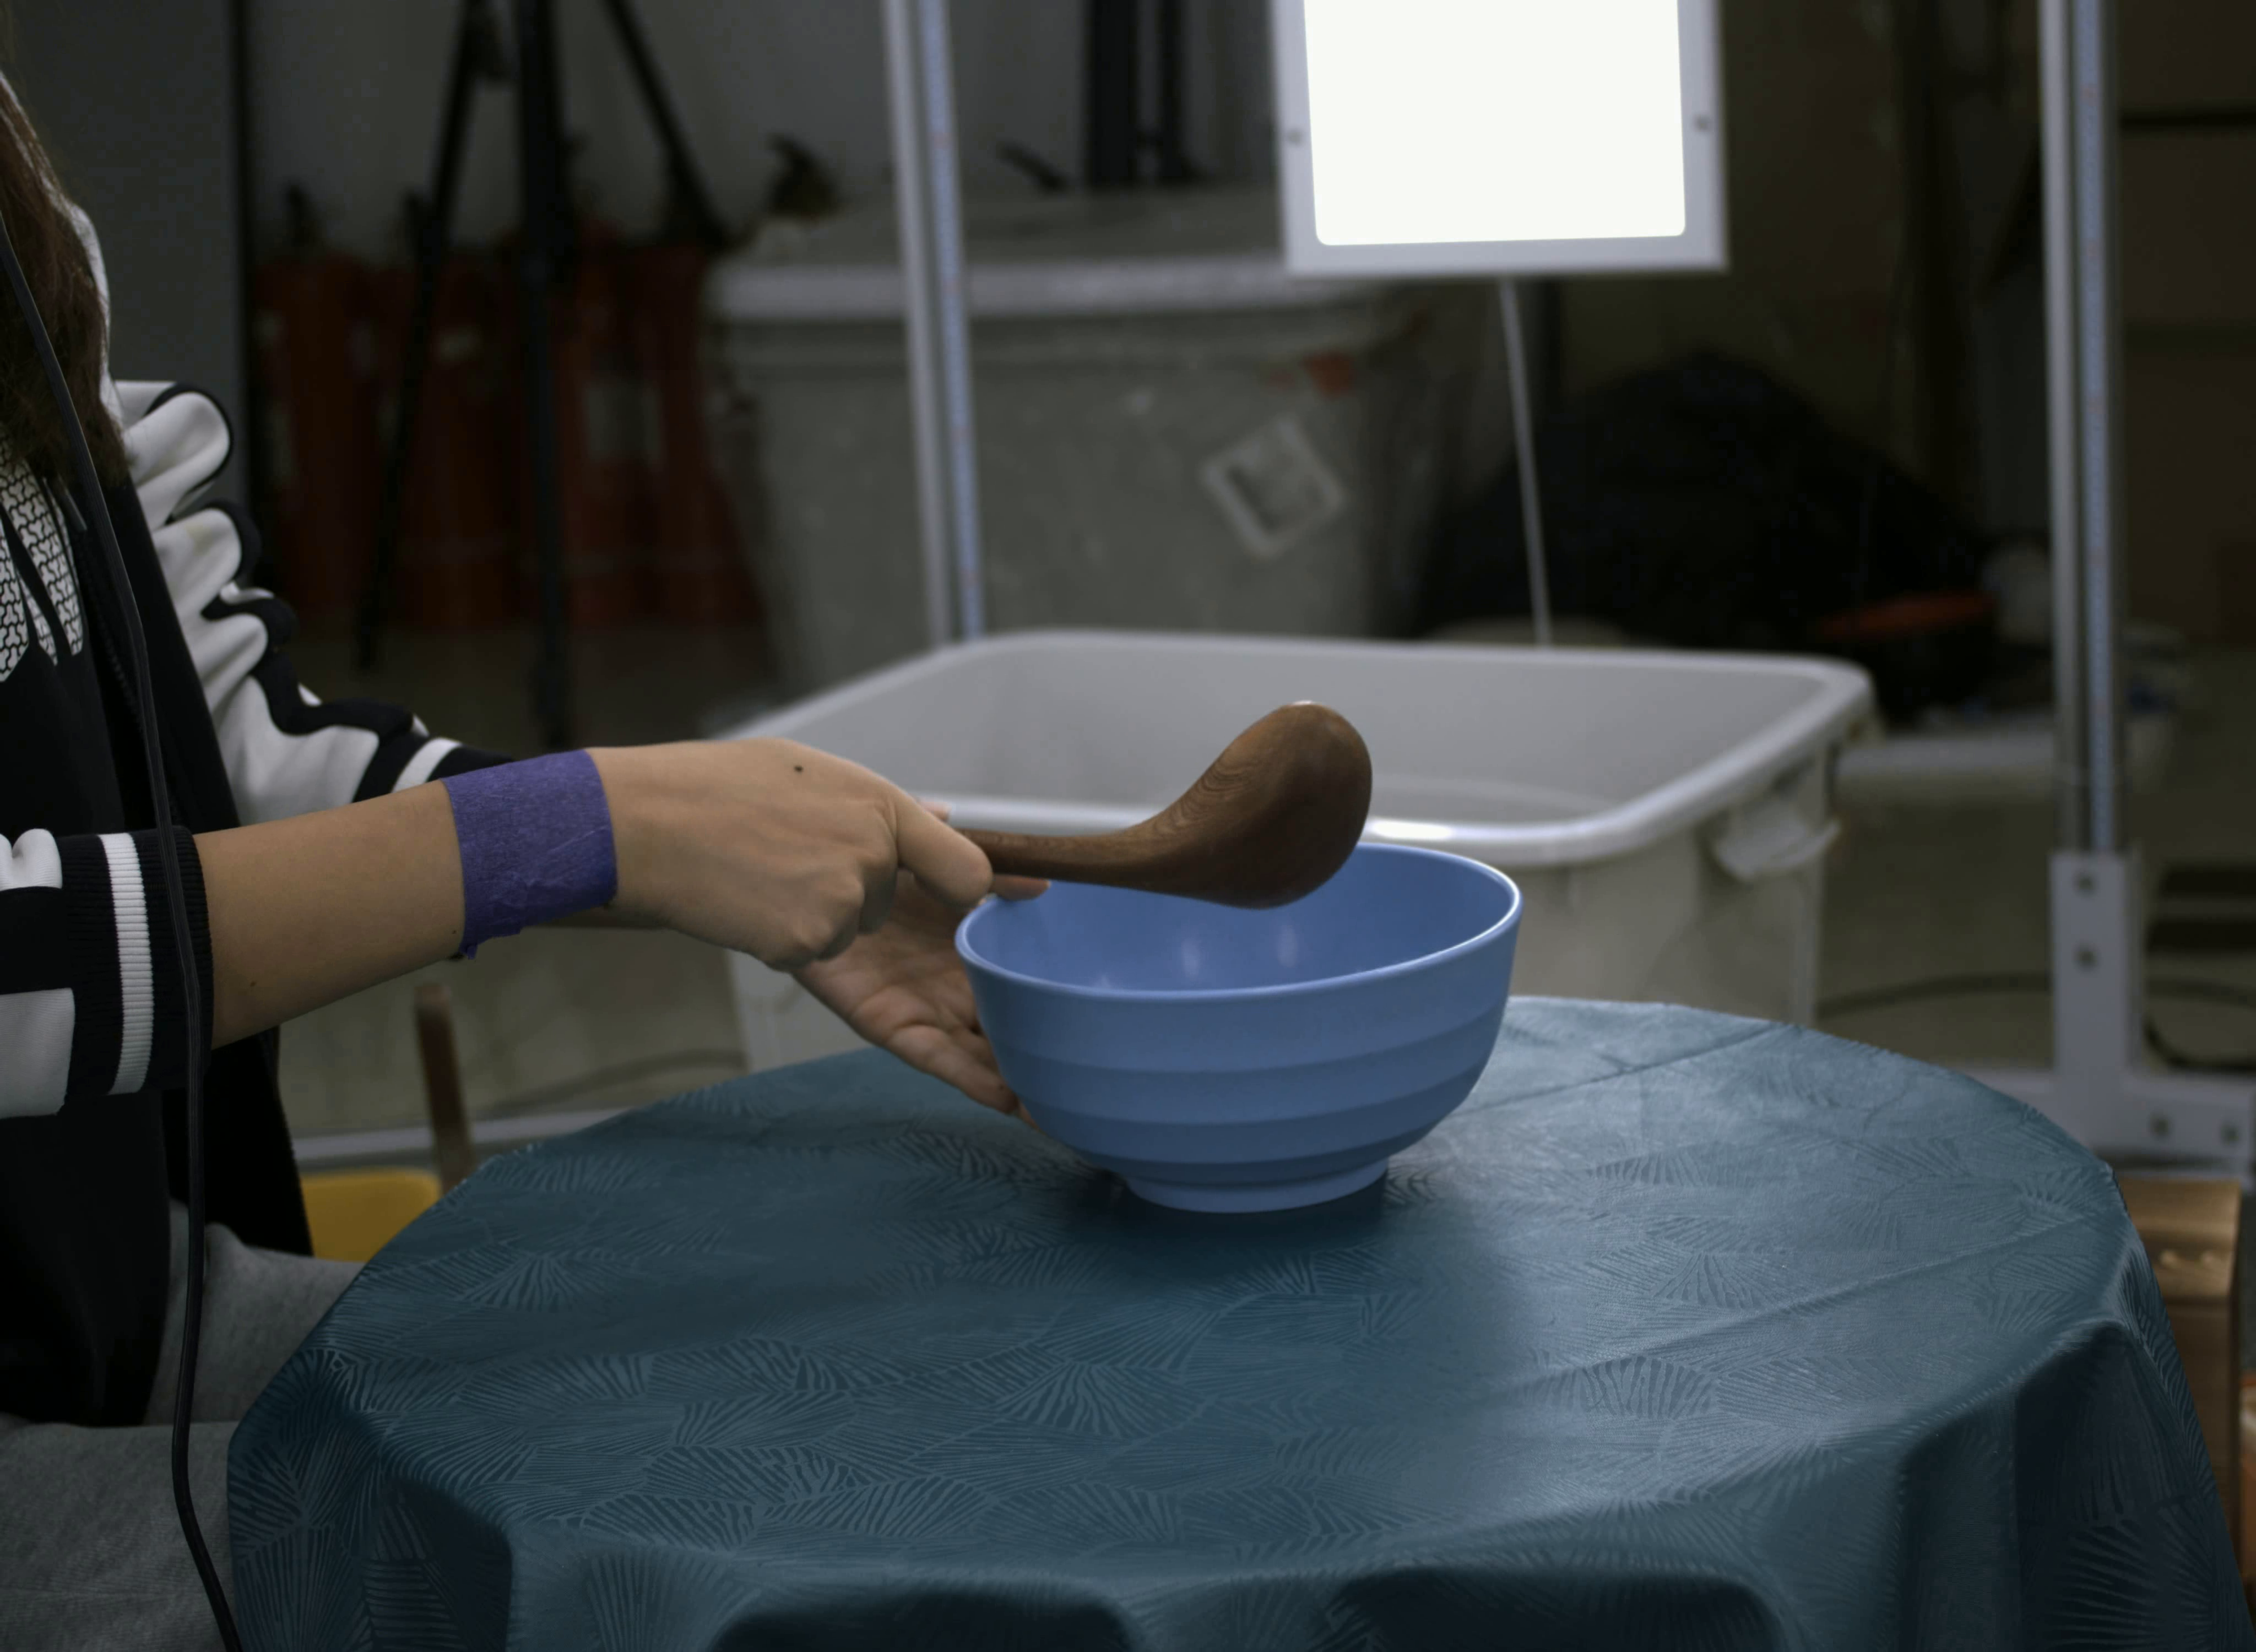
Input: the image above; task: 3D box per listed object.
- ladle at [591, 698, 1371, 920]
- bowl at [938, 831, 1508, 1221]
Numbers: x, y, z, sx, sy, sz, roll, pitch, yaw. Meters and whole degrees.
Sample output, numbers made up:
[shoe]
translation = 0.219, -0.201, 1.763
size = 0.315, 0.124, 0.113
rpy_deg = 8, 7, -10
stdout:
[ladle]
translation = -0.048, 0.001, 1.827
size = 0.259, 0.077, 0.065
rpy_deg = -3, 32, 1
[bowl]
translation = 0.034, 0.075, 1.900
size = 0.196, 0.096, 0.196
rpy_deg = -3, 19, 0
